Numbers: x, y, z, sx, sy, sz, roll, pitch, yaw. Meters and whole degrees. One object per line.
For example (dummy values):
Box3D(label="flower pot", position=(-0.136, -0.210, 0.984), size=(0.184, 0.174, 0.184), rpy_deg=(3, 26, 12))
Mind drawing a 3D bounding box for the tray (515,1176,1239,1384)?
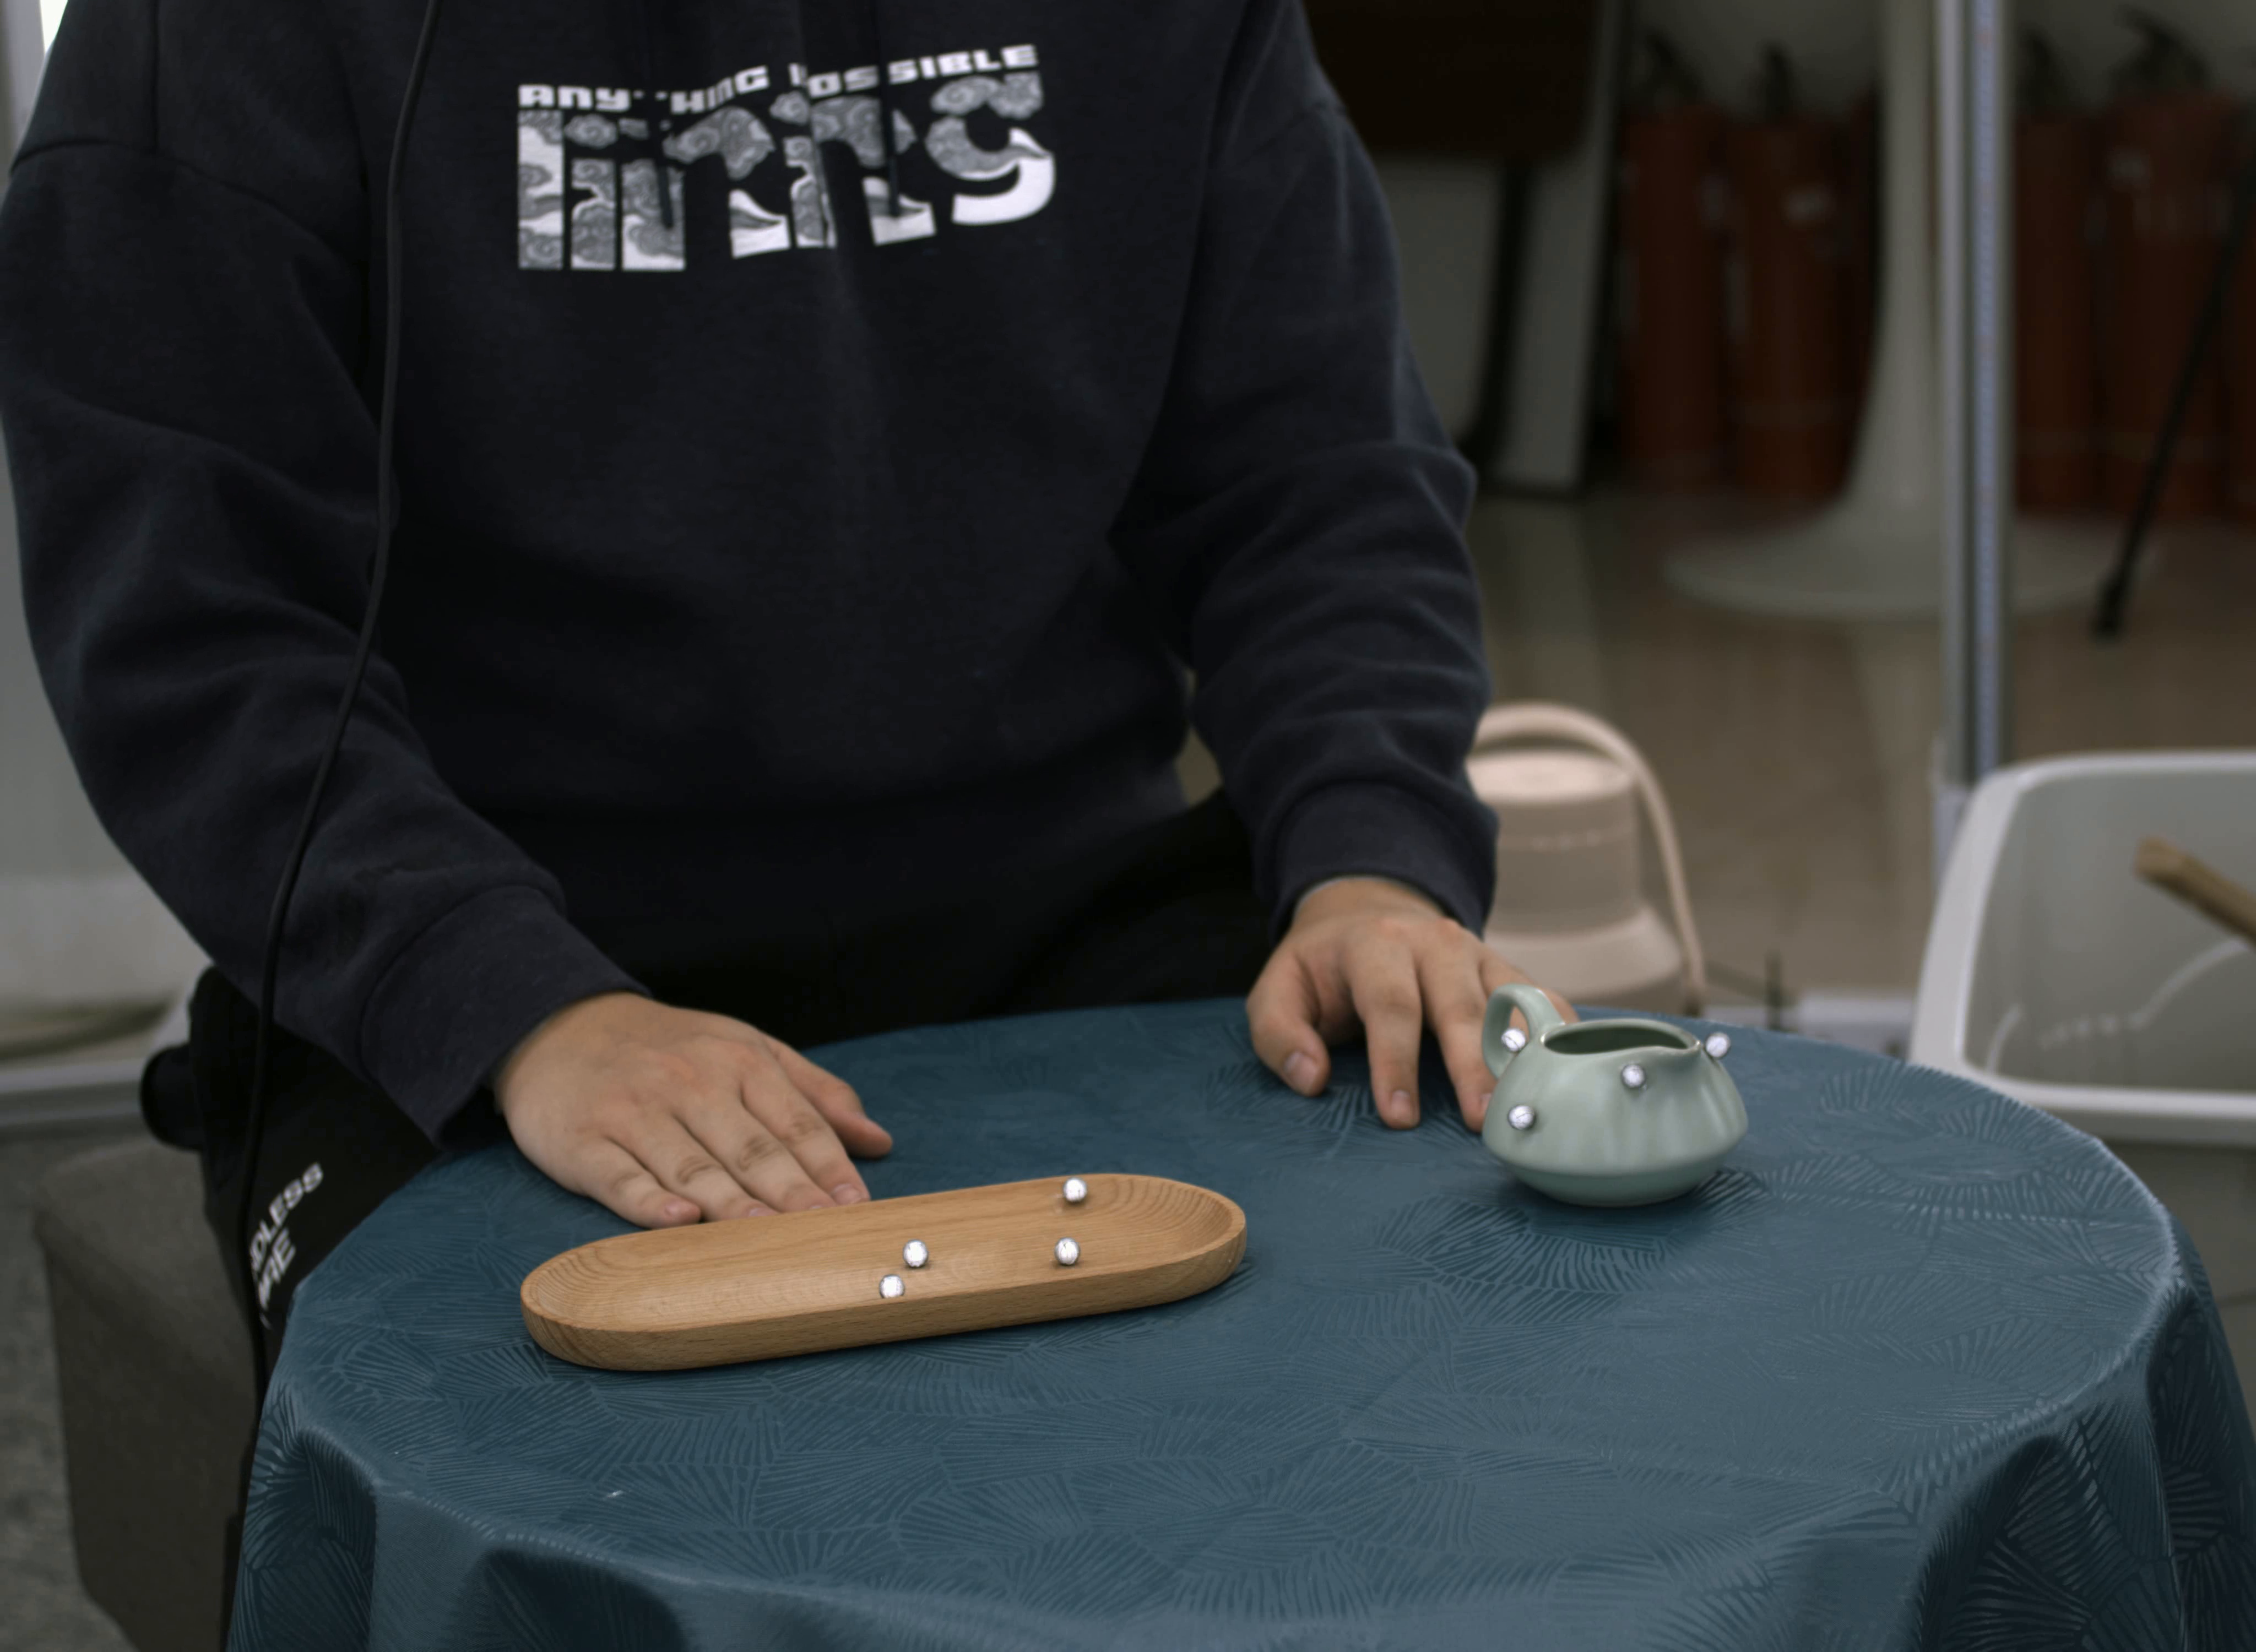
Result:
Box3D(label="tray", position=(-0.076, 0.141, 1.682), size=(0.227, 0.020, 0.102), rpy_deg=(-9, 13, -12))

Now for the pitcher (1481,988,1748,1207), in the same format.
Box3D(label="pitcher", position=(0.151, 0.088, 1.750), size=(0.084, 0.061, 0.109), rpy_deg=(-12, 13, -34))
